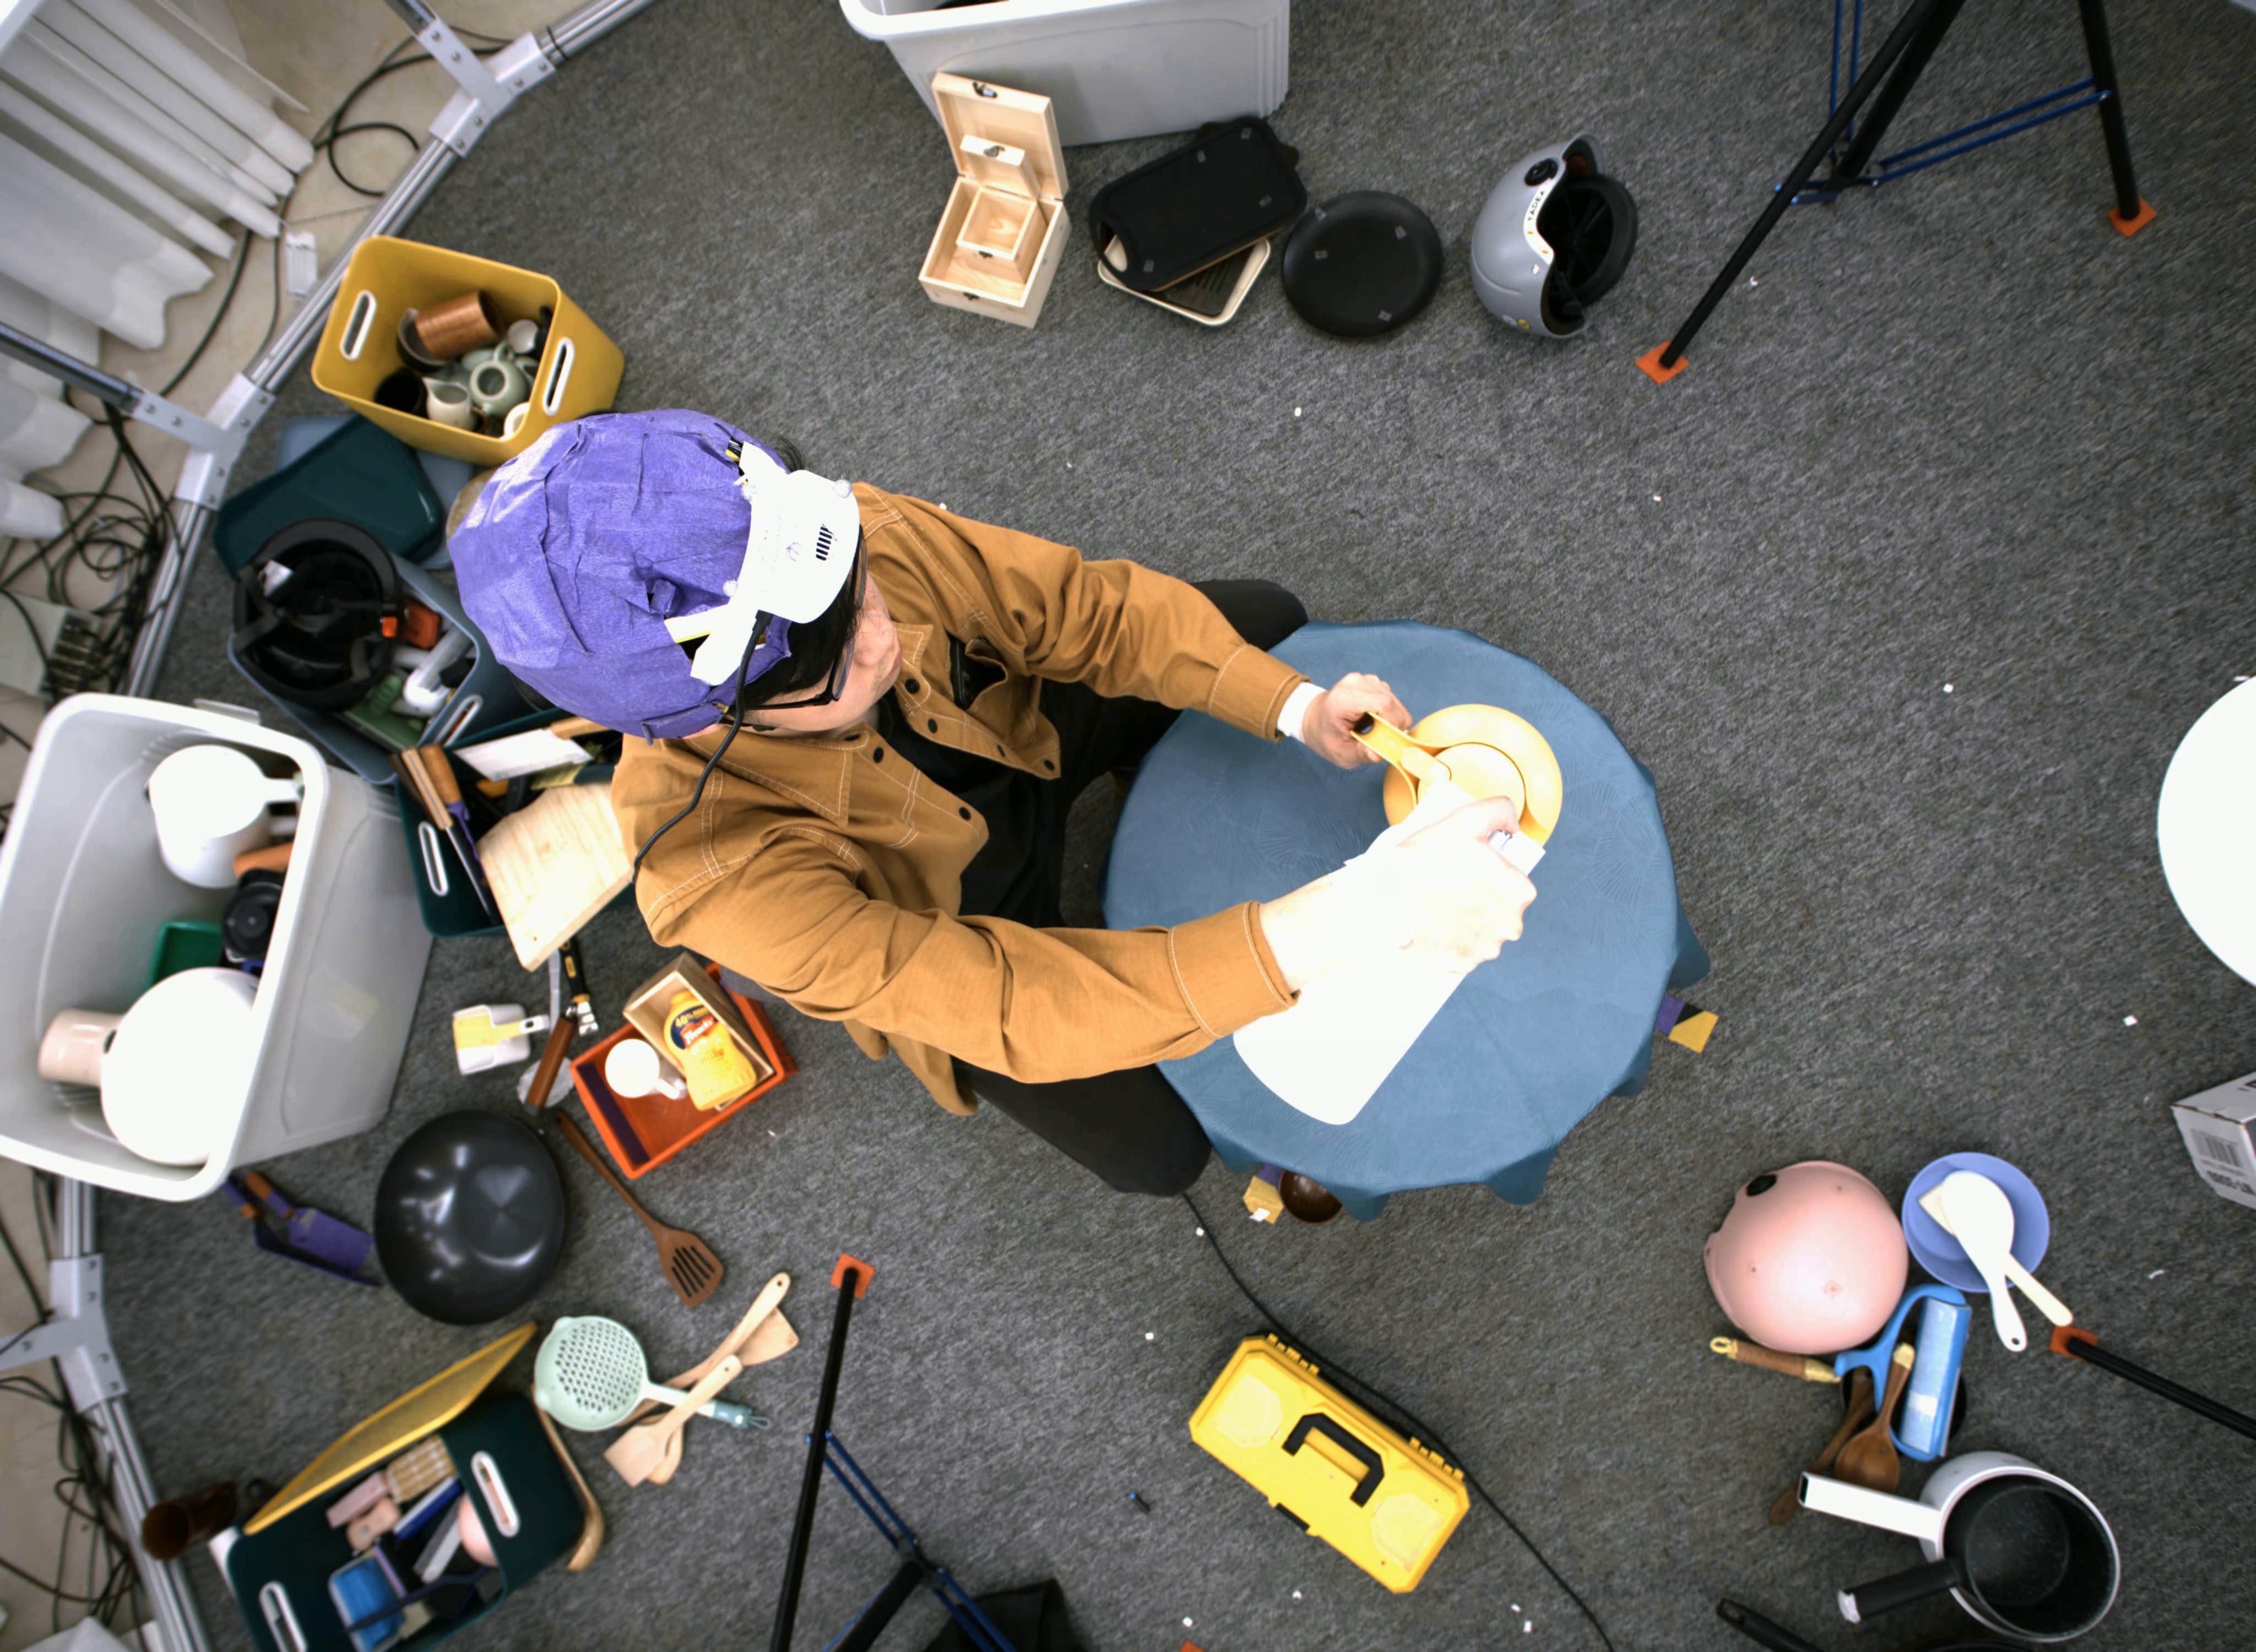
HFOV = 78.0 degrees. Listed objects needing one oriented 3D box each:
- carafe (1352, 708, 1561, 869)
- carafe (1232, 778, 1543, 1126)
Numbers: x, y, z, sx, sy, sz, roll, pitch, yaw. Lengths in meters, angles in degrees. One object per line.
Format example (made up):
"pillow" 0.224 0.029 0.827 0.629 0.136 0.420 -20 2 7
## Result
"carafe" 0.300 -0.043 1.266 0.202 0.258 0.165 37 100 8
"carafe" 0.200 0.101 1.057 0.124 0.170 0.272 36 104 -2
